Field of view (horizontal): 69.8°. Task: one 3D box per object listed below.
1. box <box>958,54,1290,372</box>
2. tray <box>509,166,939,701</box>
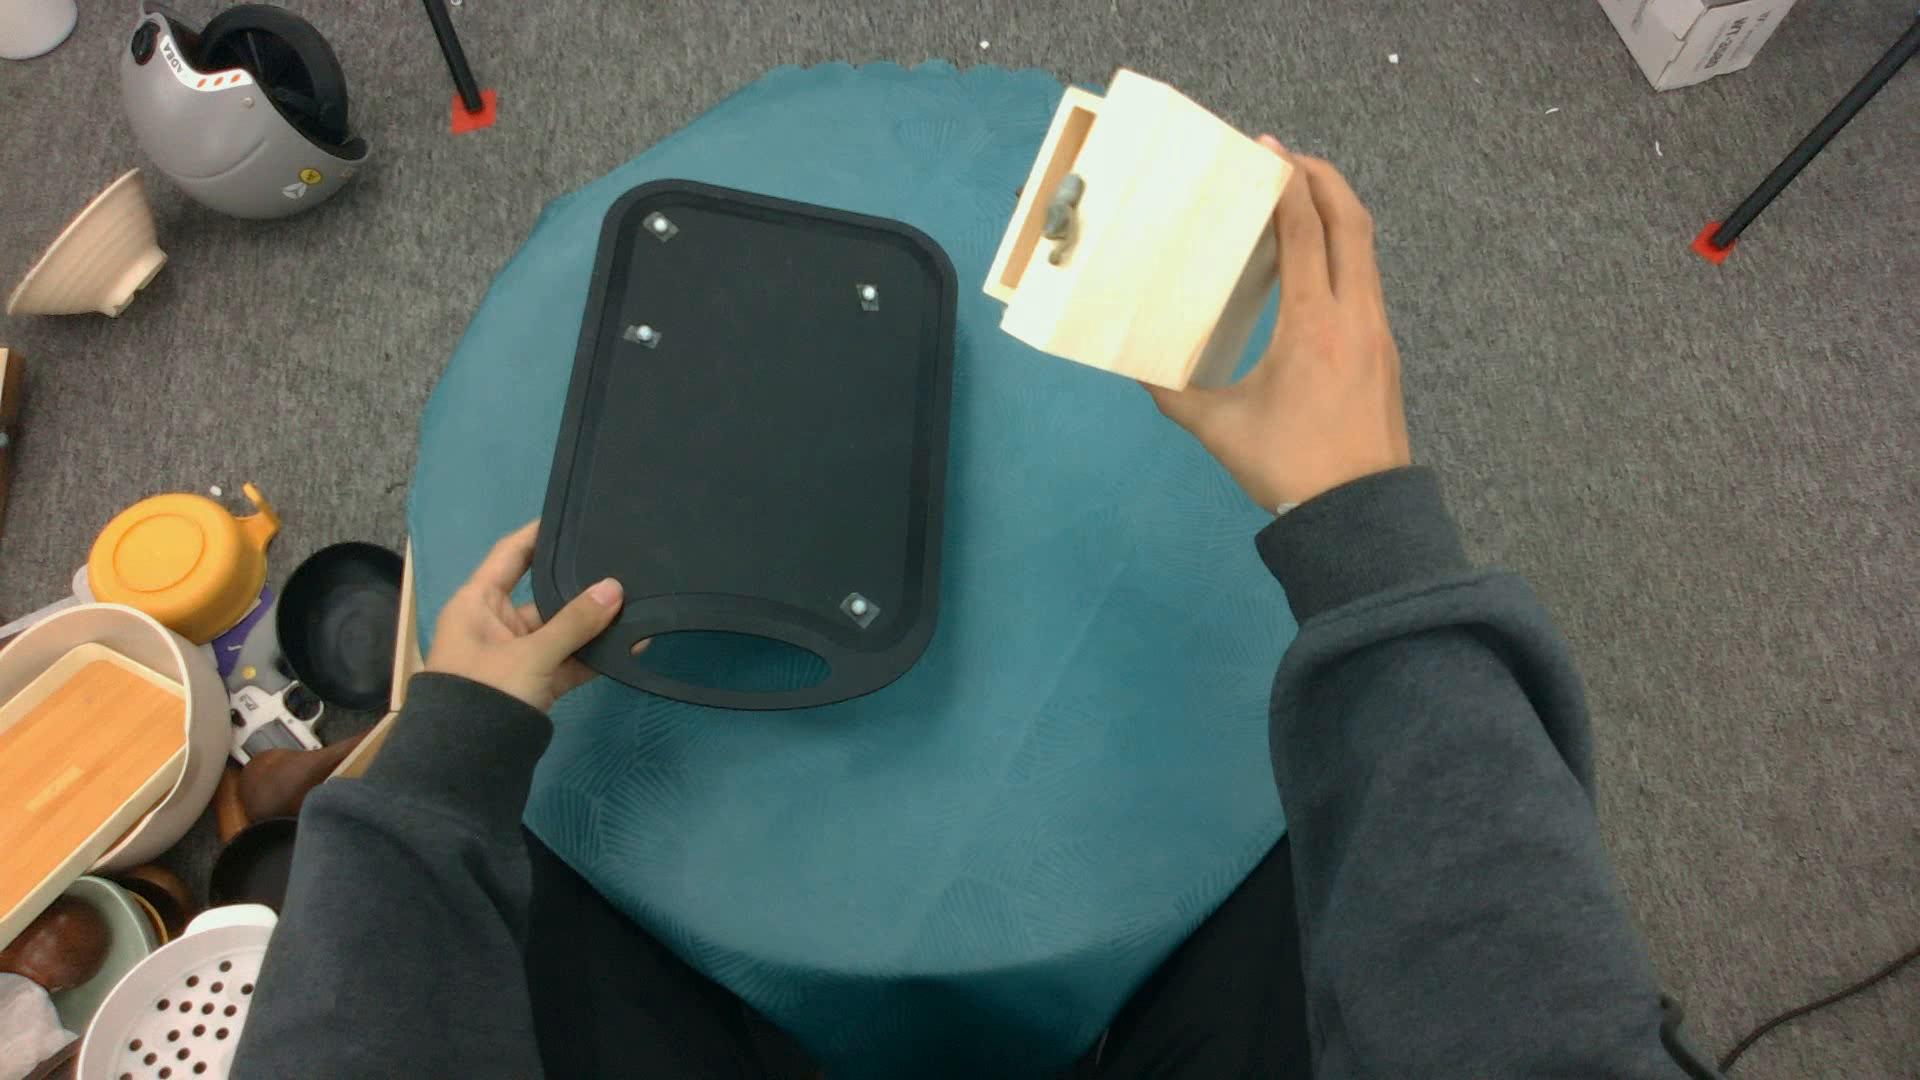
[{"bbox_3d":[0.052,-0.145,0.594,0.134,0.185,0.102,32,106,32],"label":"box"},{"bbox_3d":[-0.119,-0.068,0.754,0.211,0.010,0.326,8,63,-10],"label":"tray"}]
